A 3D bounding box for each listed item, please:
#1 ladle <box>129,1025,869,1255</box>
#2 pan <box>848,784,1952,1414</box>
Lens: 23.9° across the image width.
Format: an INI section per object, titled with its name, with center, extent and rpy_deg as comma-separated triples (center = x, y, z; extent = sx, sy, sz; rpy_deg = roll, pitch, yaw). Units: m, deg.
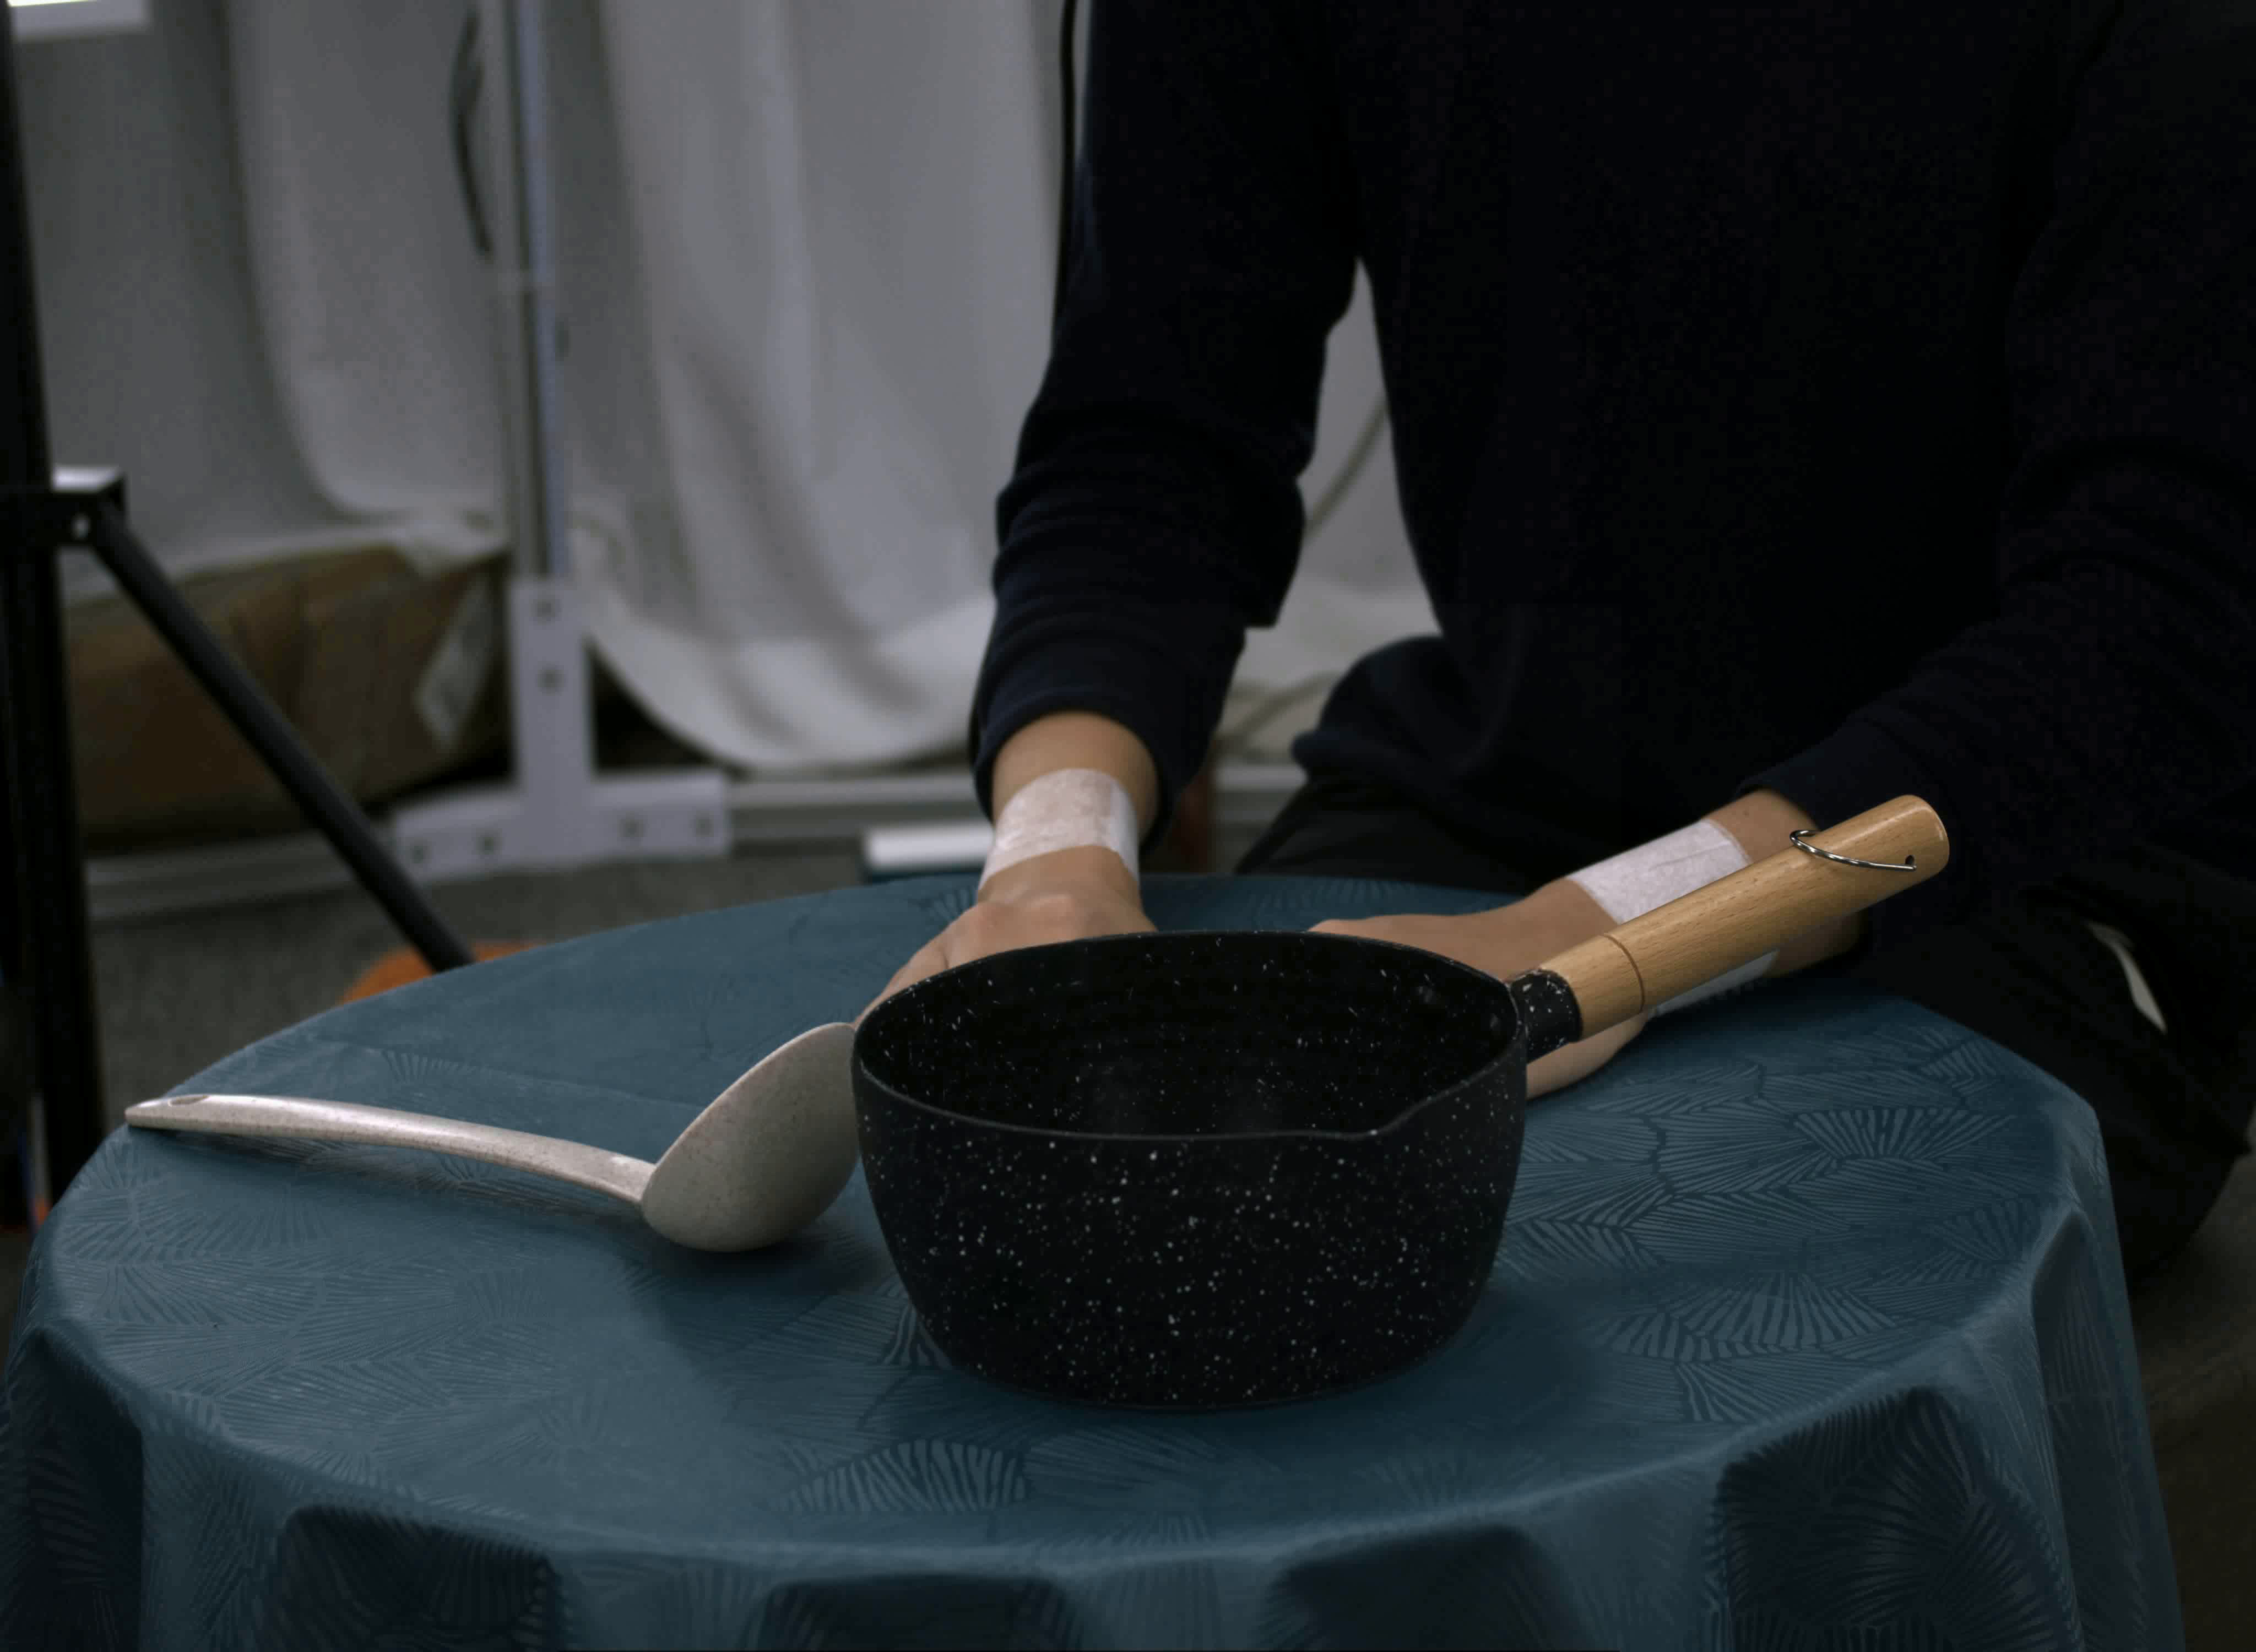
[ladle]
center = -0.197, 0.074, 1.583
extent = 0.280, 0.069, 0.088
rpy_deg = 9, 23, 34
[pan]
center = 0.086, 0.070, 1.479
extent = 0.336, 0.108, 0.212
rpy_deg = -12, 17, -26
